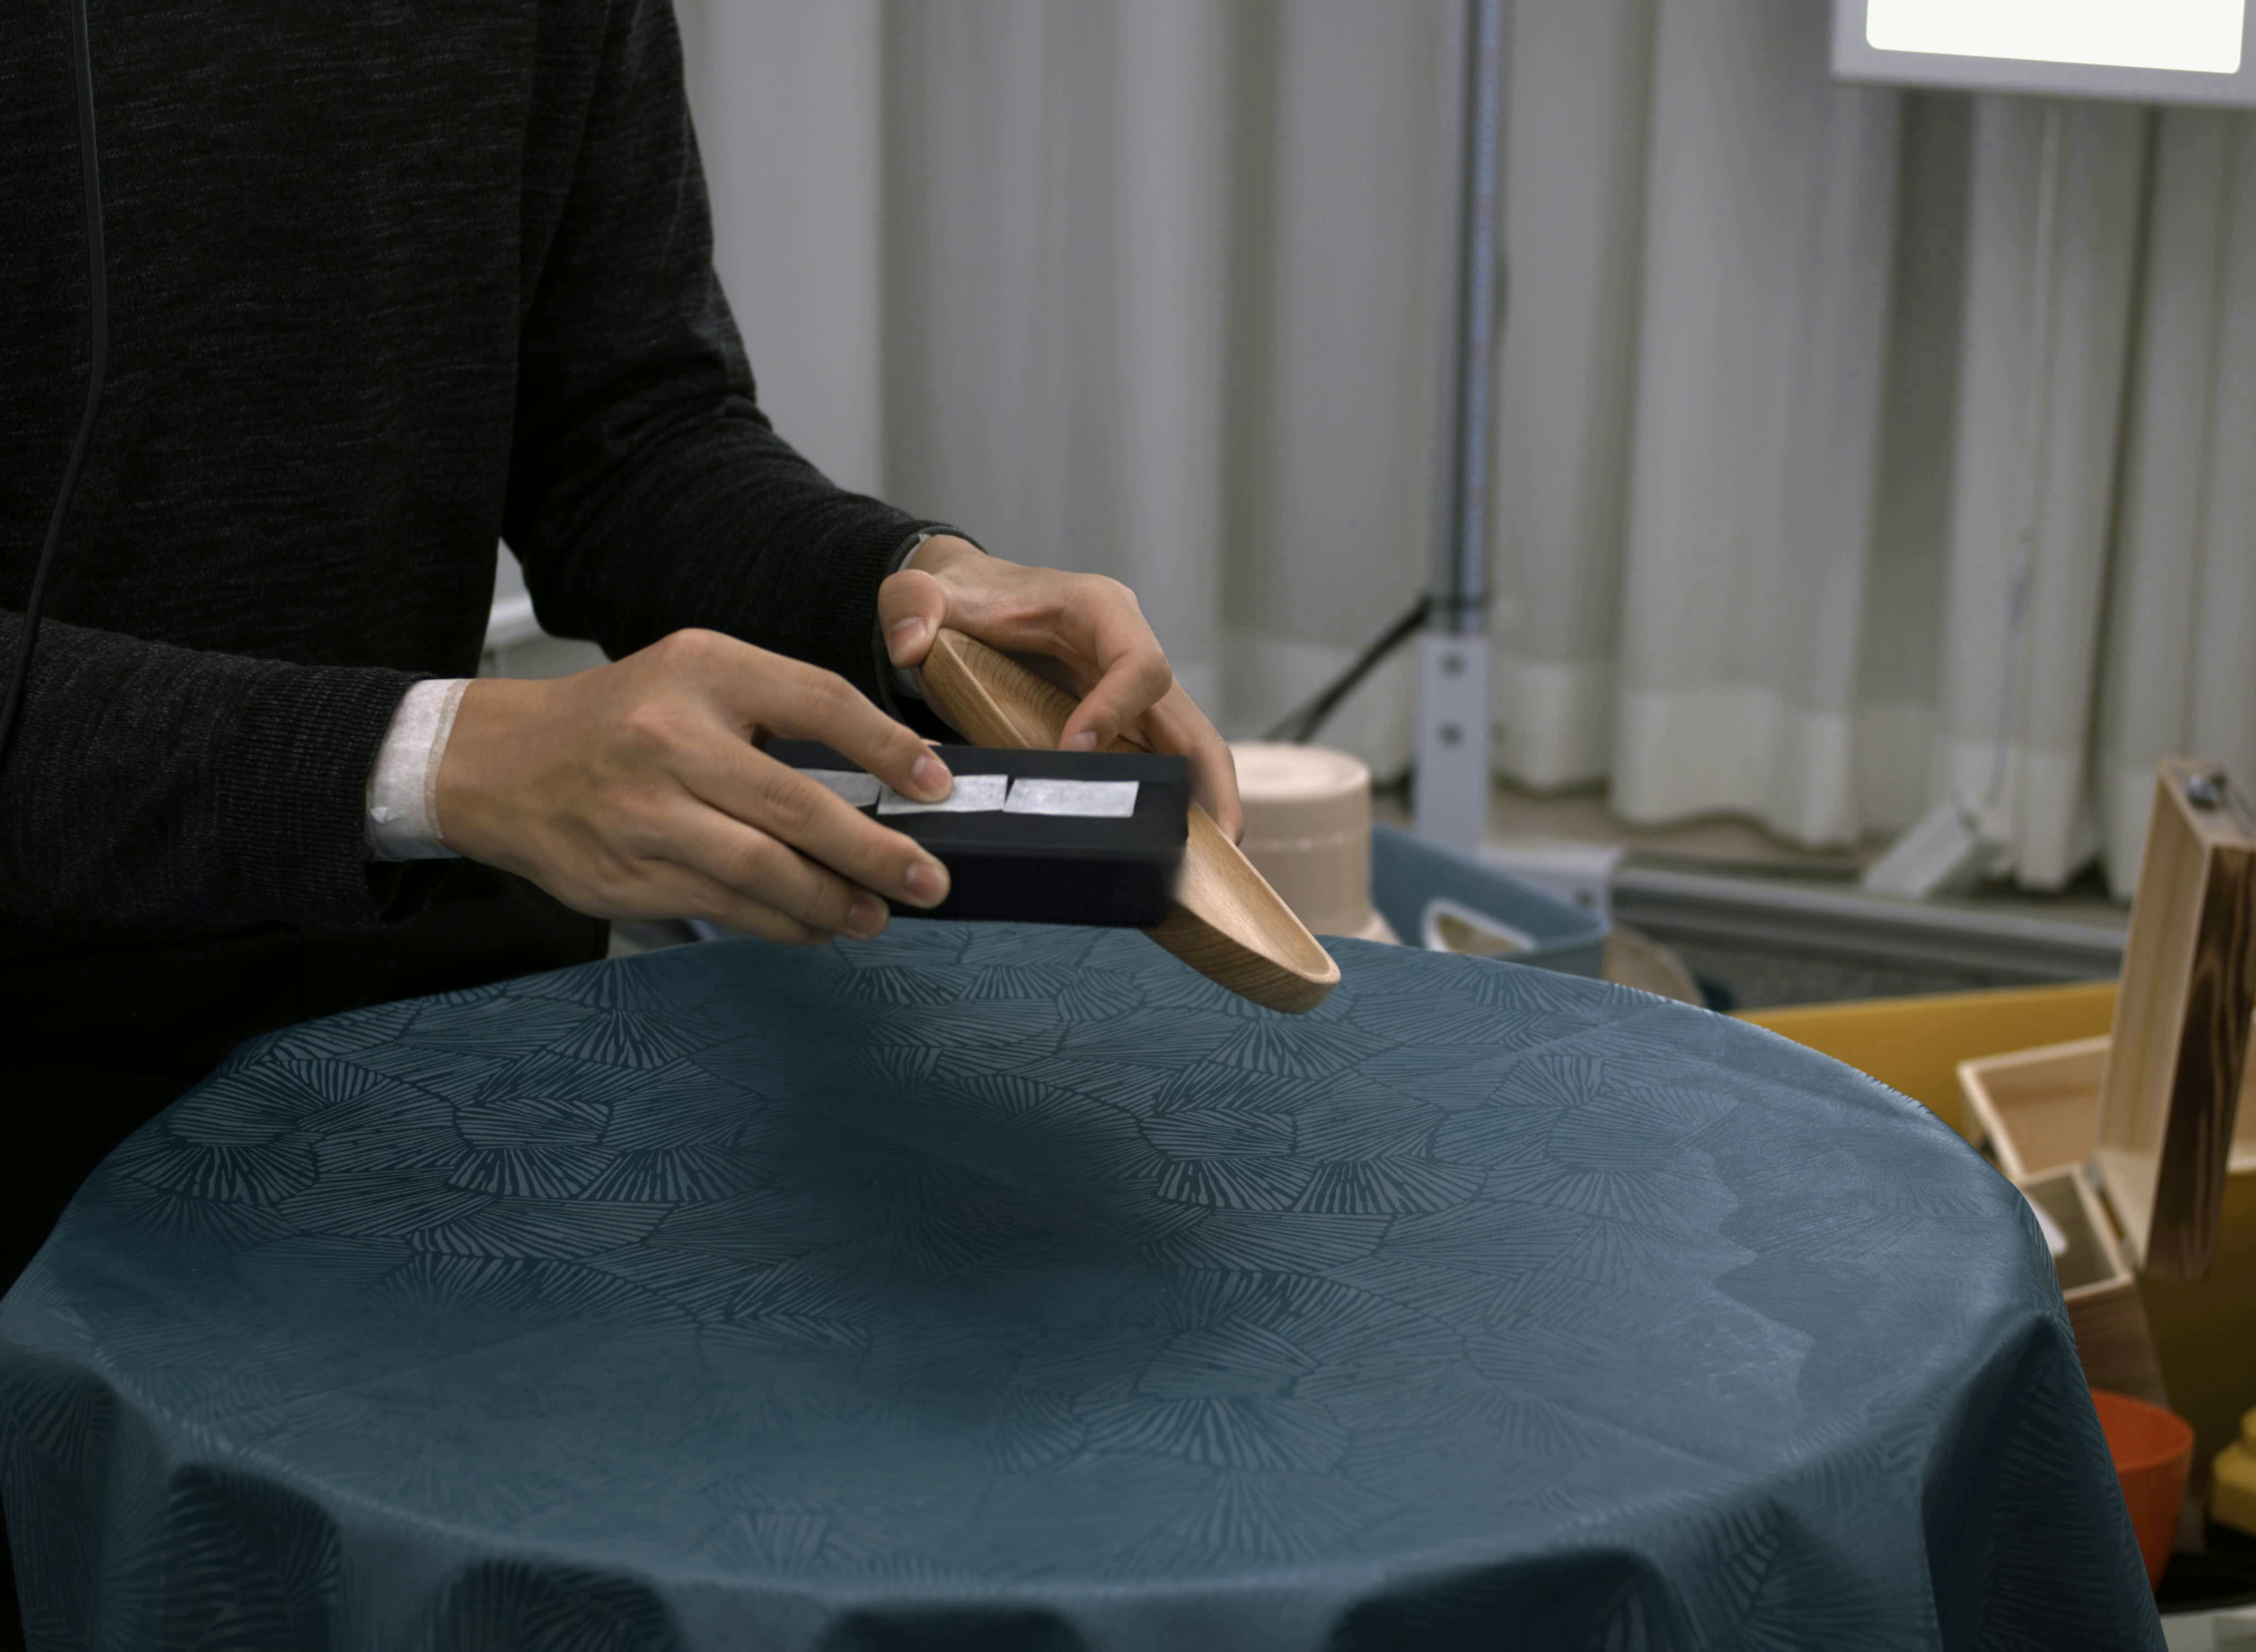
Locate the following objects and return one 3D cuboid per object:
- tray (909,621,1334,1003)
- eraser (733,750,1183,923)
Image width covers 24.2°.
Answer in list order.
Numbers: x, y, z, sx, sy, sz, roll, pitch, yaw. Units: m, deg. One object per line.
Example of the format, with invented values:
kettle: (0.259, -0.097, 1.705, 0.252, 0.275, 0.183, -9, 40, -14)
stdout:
tray: (-0.005, -0.005, 1.616, 0.103, 0.020, 0.228, 33, 7, -29)
eraser: (-0.047, 0.002, 1.500, 0.125, 0.031, 0.053, 1, 35, 7)
